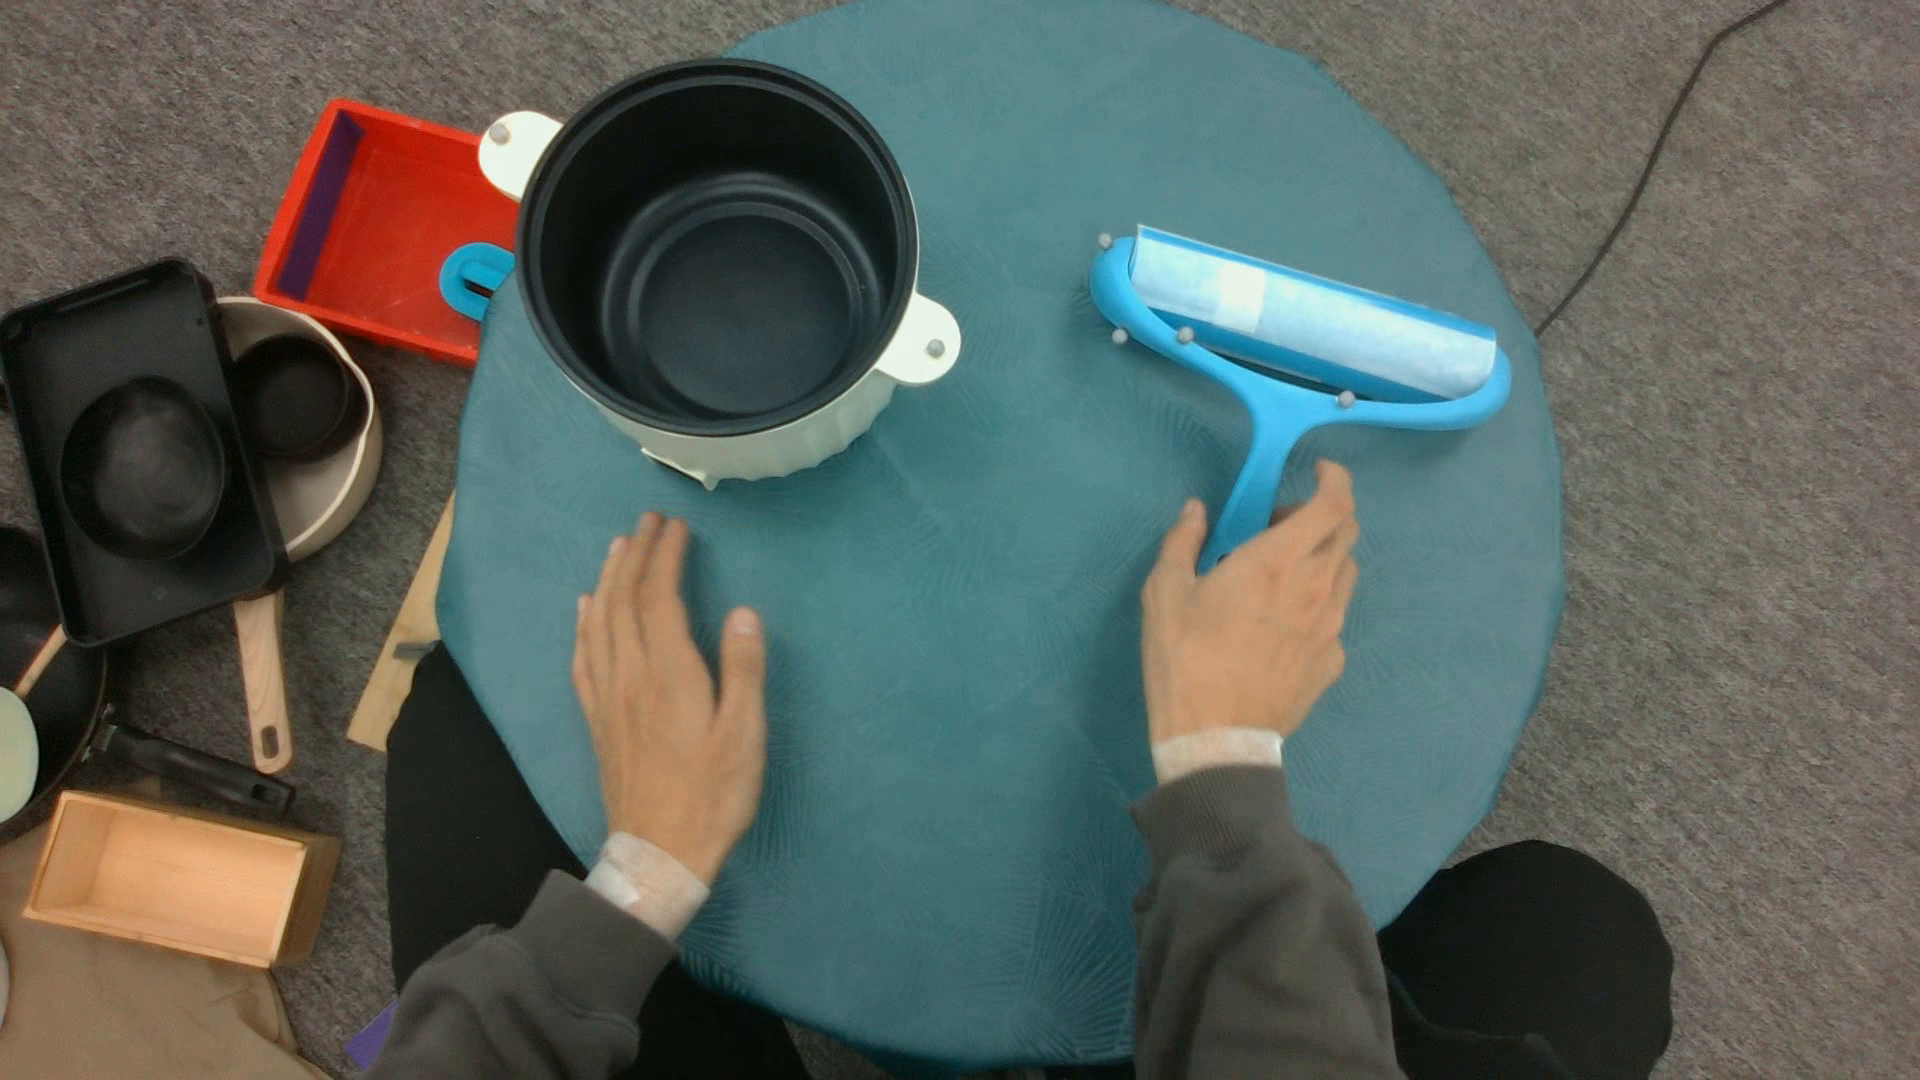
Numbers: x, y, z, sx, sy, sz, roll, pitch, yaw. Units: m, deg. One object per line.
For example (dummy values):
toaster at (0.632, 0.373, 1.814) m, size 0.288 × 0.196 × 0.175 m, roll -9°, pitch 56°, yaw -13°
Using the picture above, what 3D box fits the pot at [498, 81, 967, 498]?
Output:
pot at (-0.106, -0.124, 0.706) m, size 0.240 × 0.142 × 0.191 m, roll 25°, pitch 83°, yaw 3°

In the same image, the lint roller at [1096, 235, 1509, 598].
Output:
lint roller at (0.171, -0.058, 0.737) m, size 0.229 × 0.068 × 0.180 m, roll 15°, pitch 78°, yaw 1°
